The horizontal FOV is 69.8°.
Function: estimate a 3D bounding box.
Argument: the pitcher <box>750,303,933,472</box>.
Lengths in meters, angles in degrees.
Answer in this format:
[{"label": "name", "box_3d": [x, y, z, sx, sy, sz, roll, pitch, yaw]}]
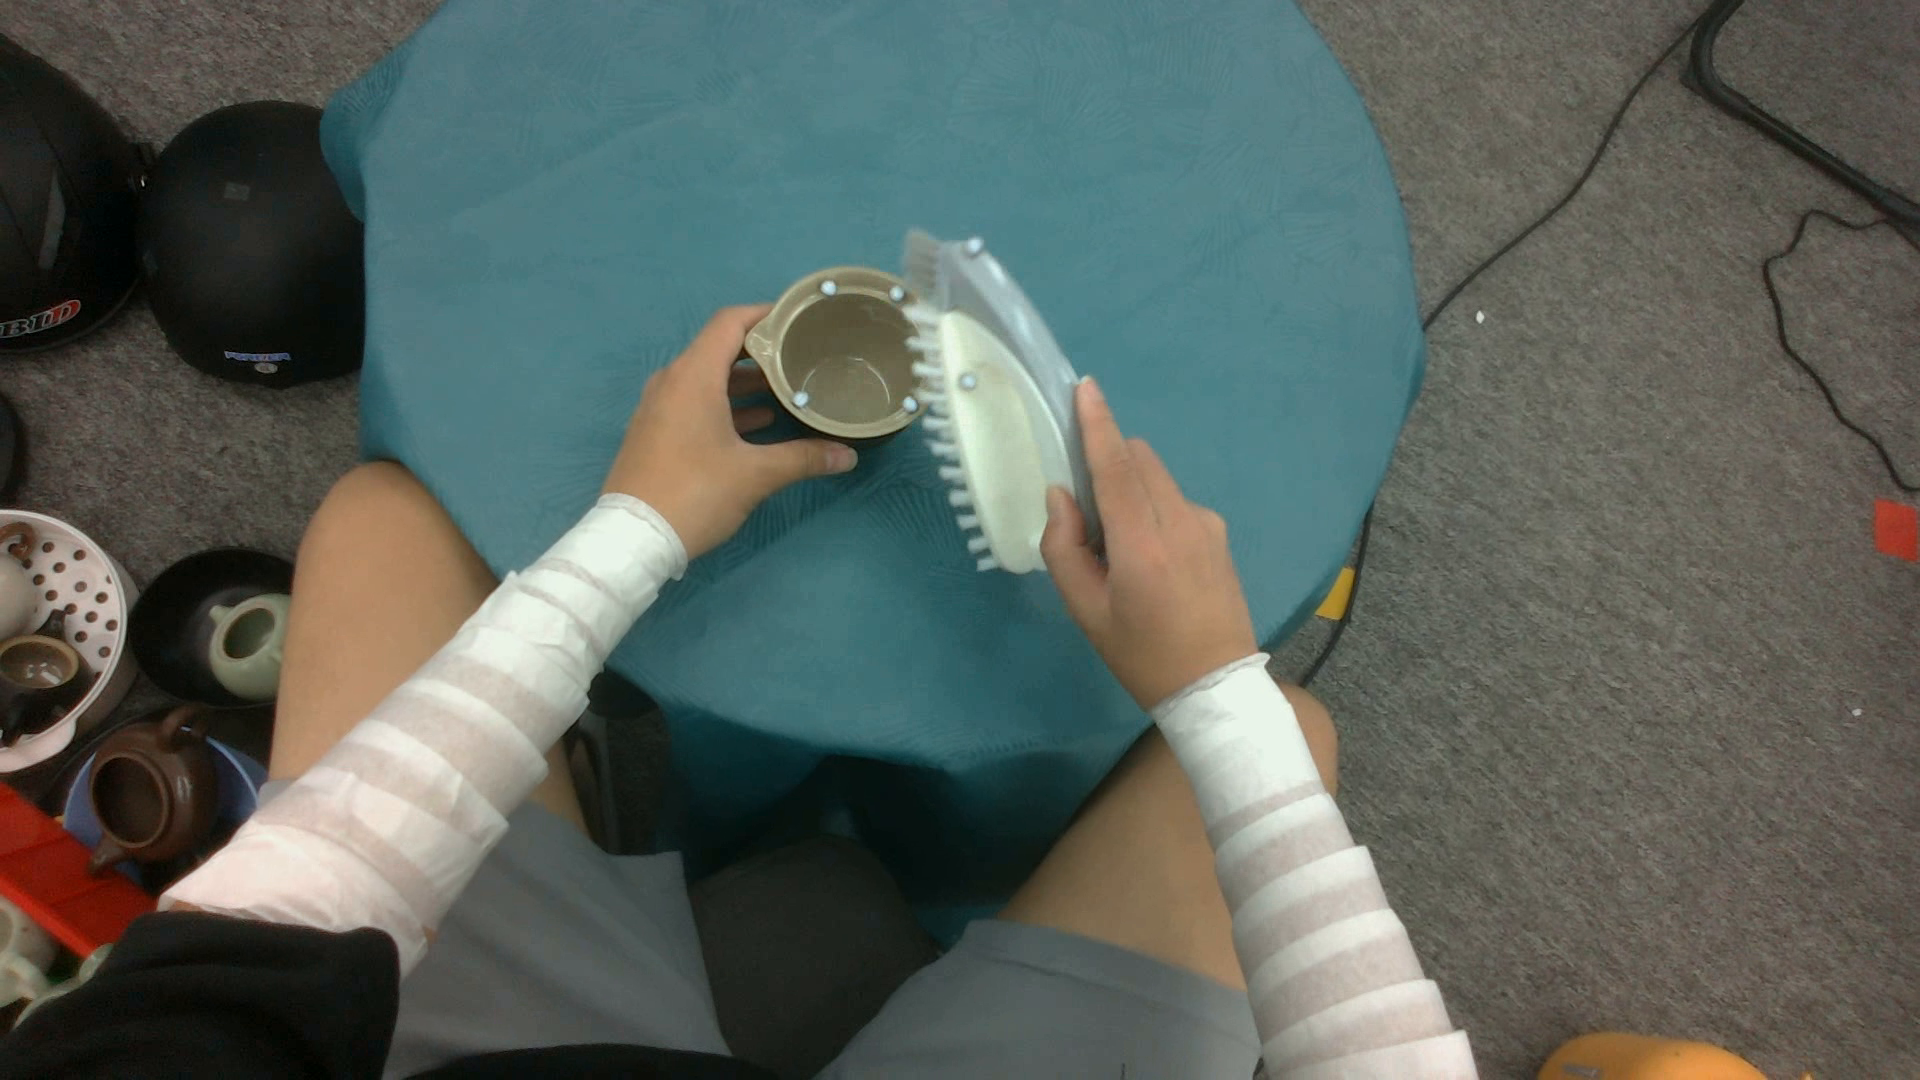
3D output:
[{"label": "pitcher", "box_3d": [-0.061, -0.075, 0.730, 0.096, 0.071, 0.084, 0, 74, -6]}]

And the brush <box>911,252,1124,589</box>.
[{"label": "brush", "box_3d": [0.030, -0.059, 0.664, 0.062, 0.094, 0.175, -29, 109, -30]}]
